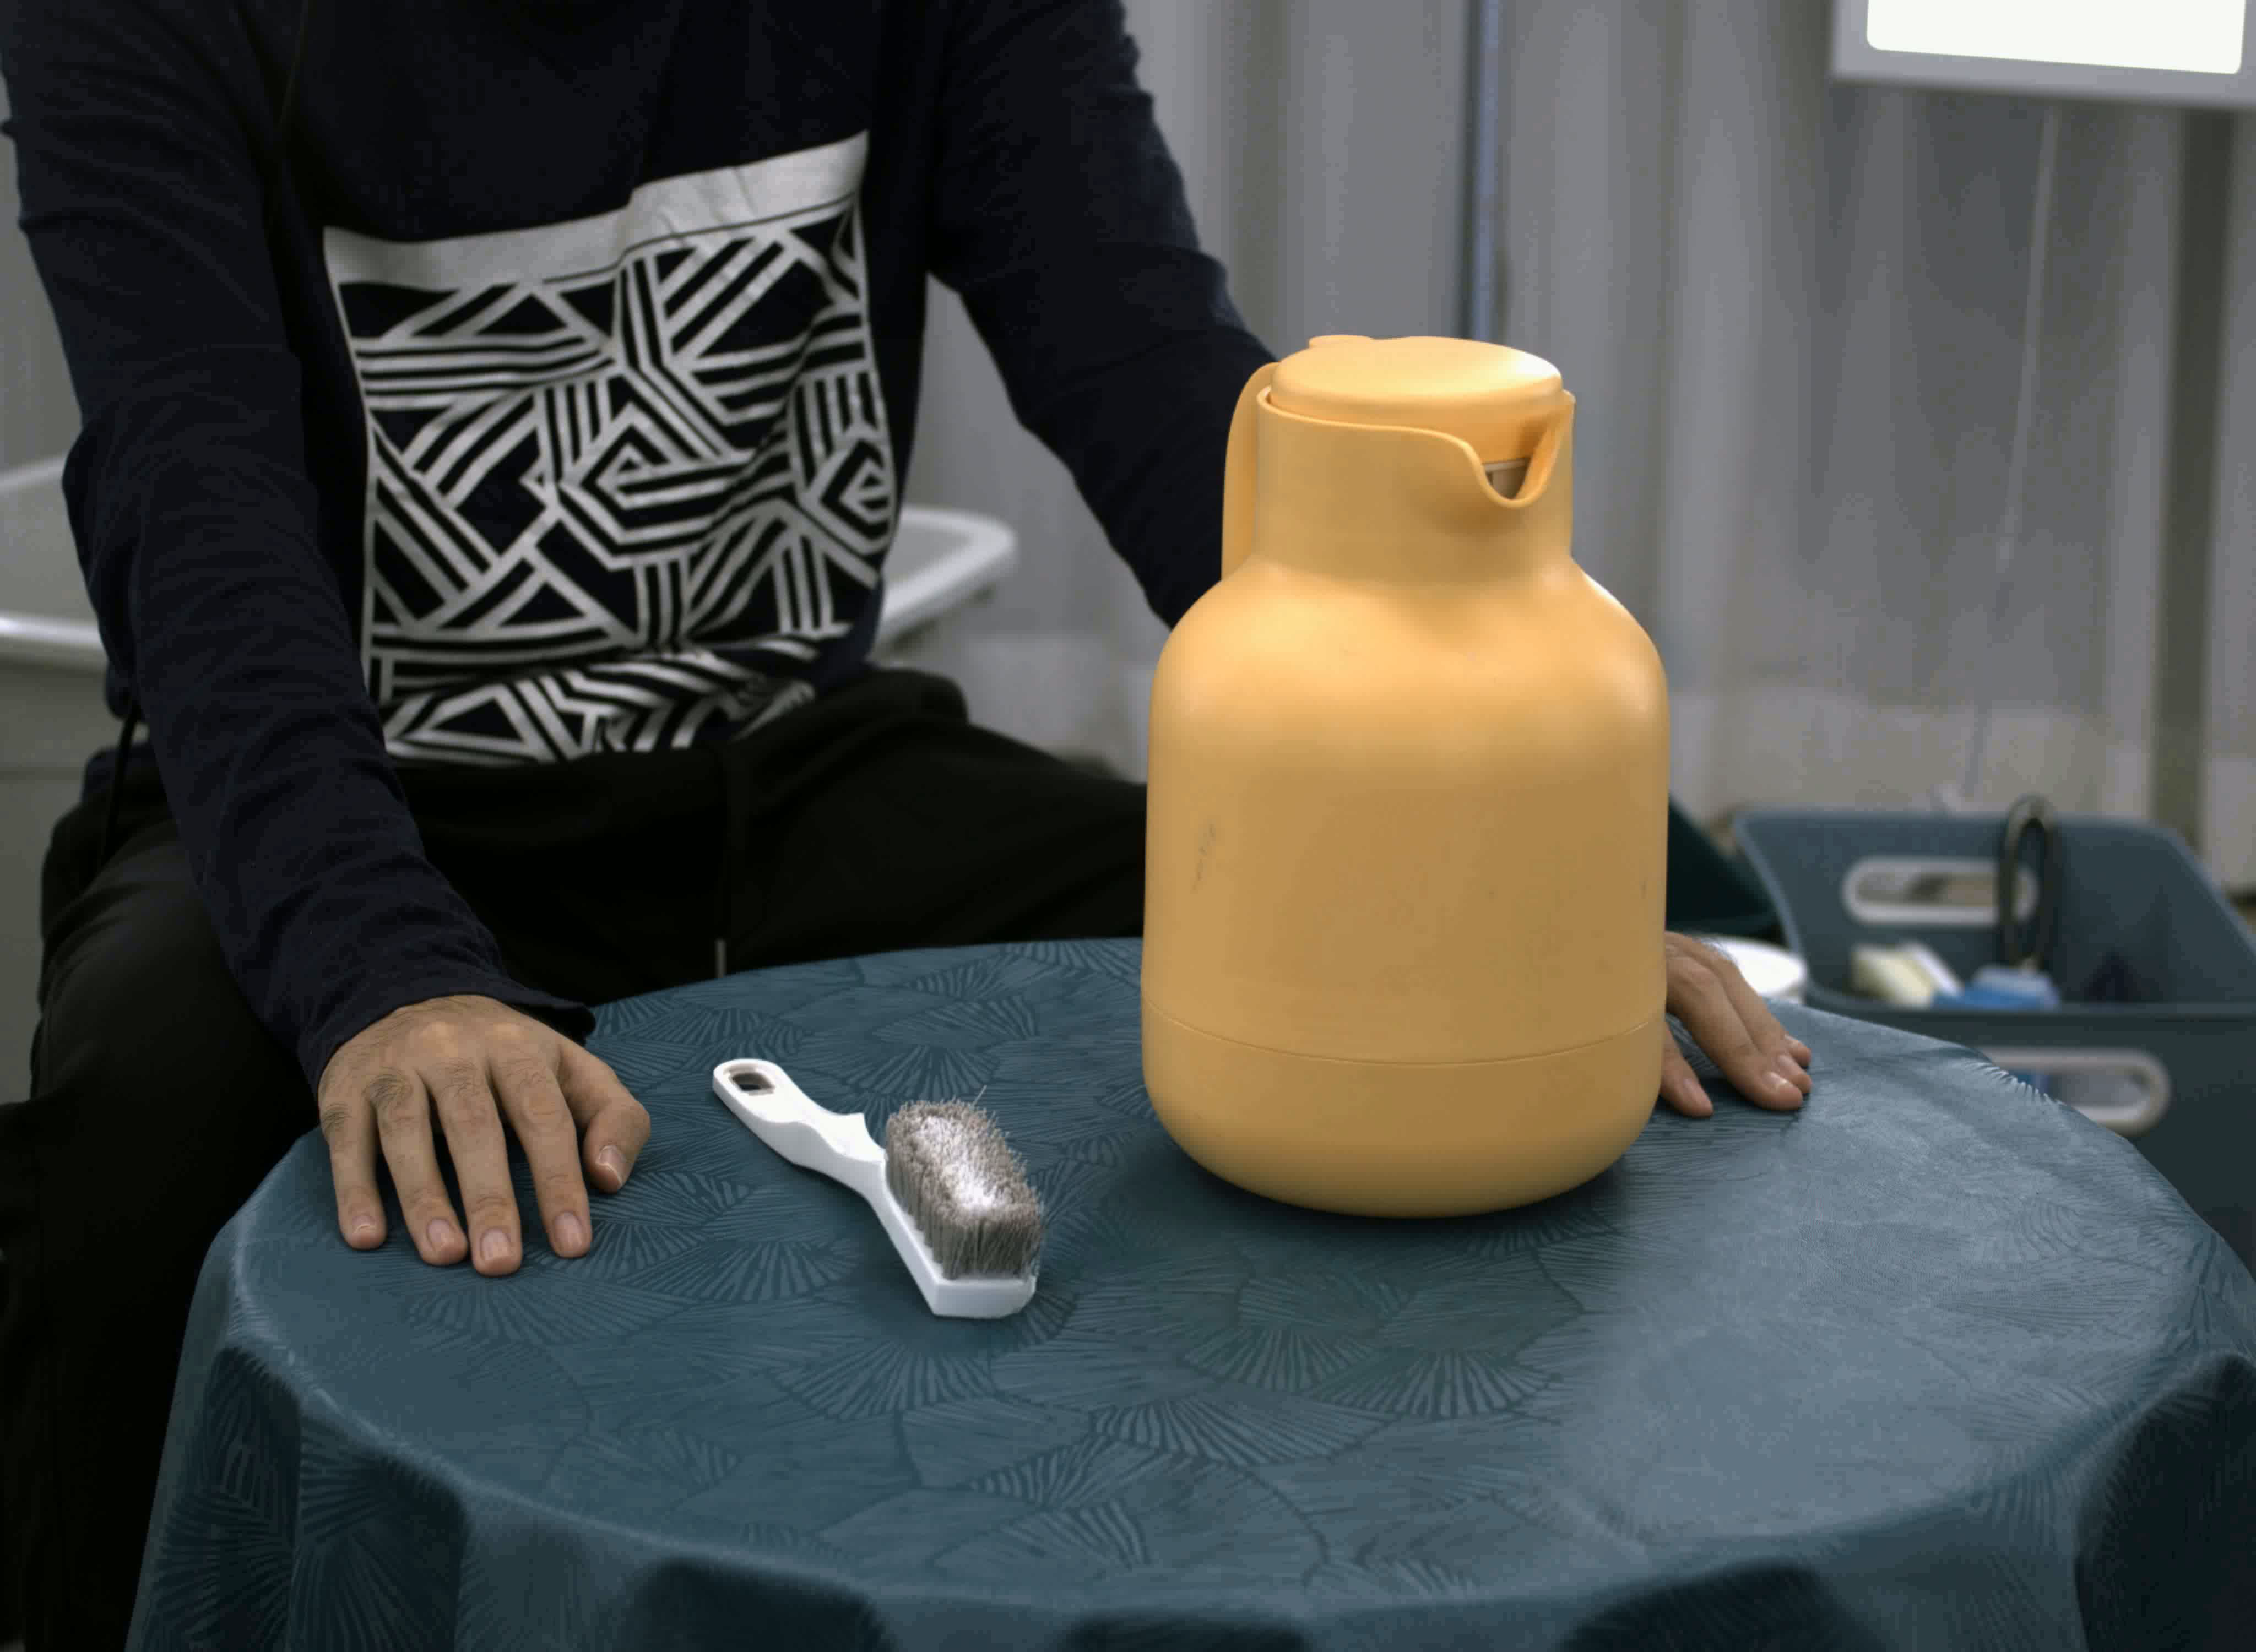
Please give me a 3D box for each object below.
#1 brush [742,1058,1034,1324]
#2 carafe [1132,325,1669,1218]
[{"bbox_3d":[-0.079,0.091,1.609,0.034,0.050,0.241,-9,18,-17],"label":"brush"},{"bbox_3d":[0.080,-0.025,1.635,0.164,0.262,0.200,-3,17,-21],"label":"carafe"}]
